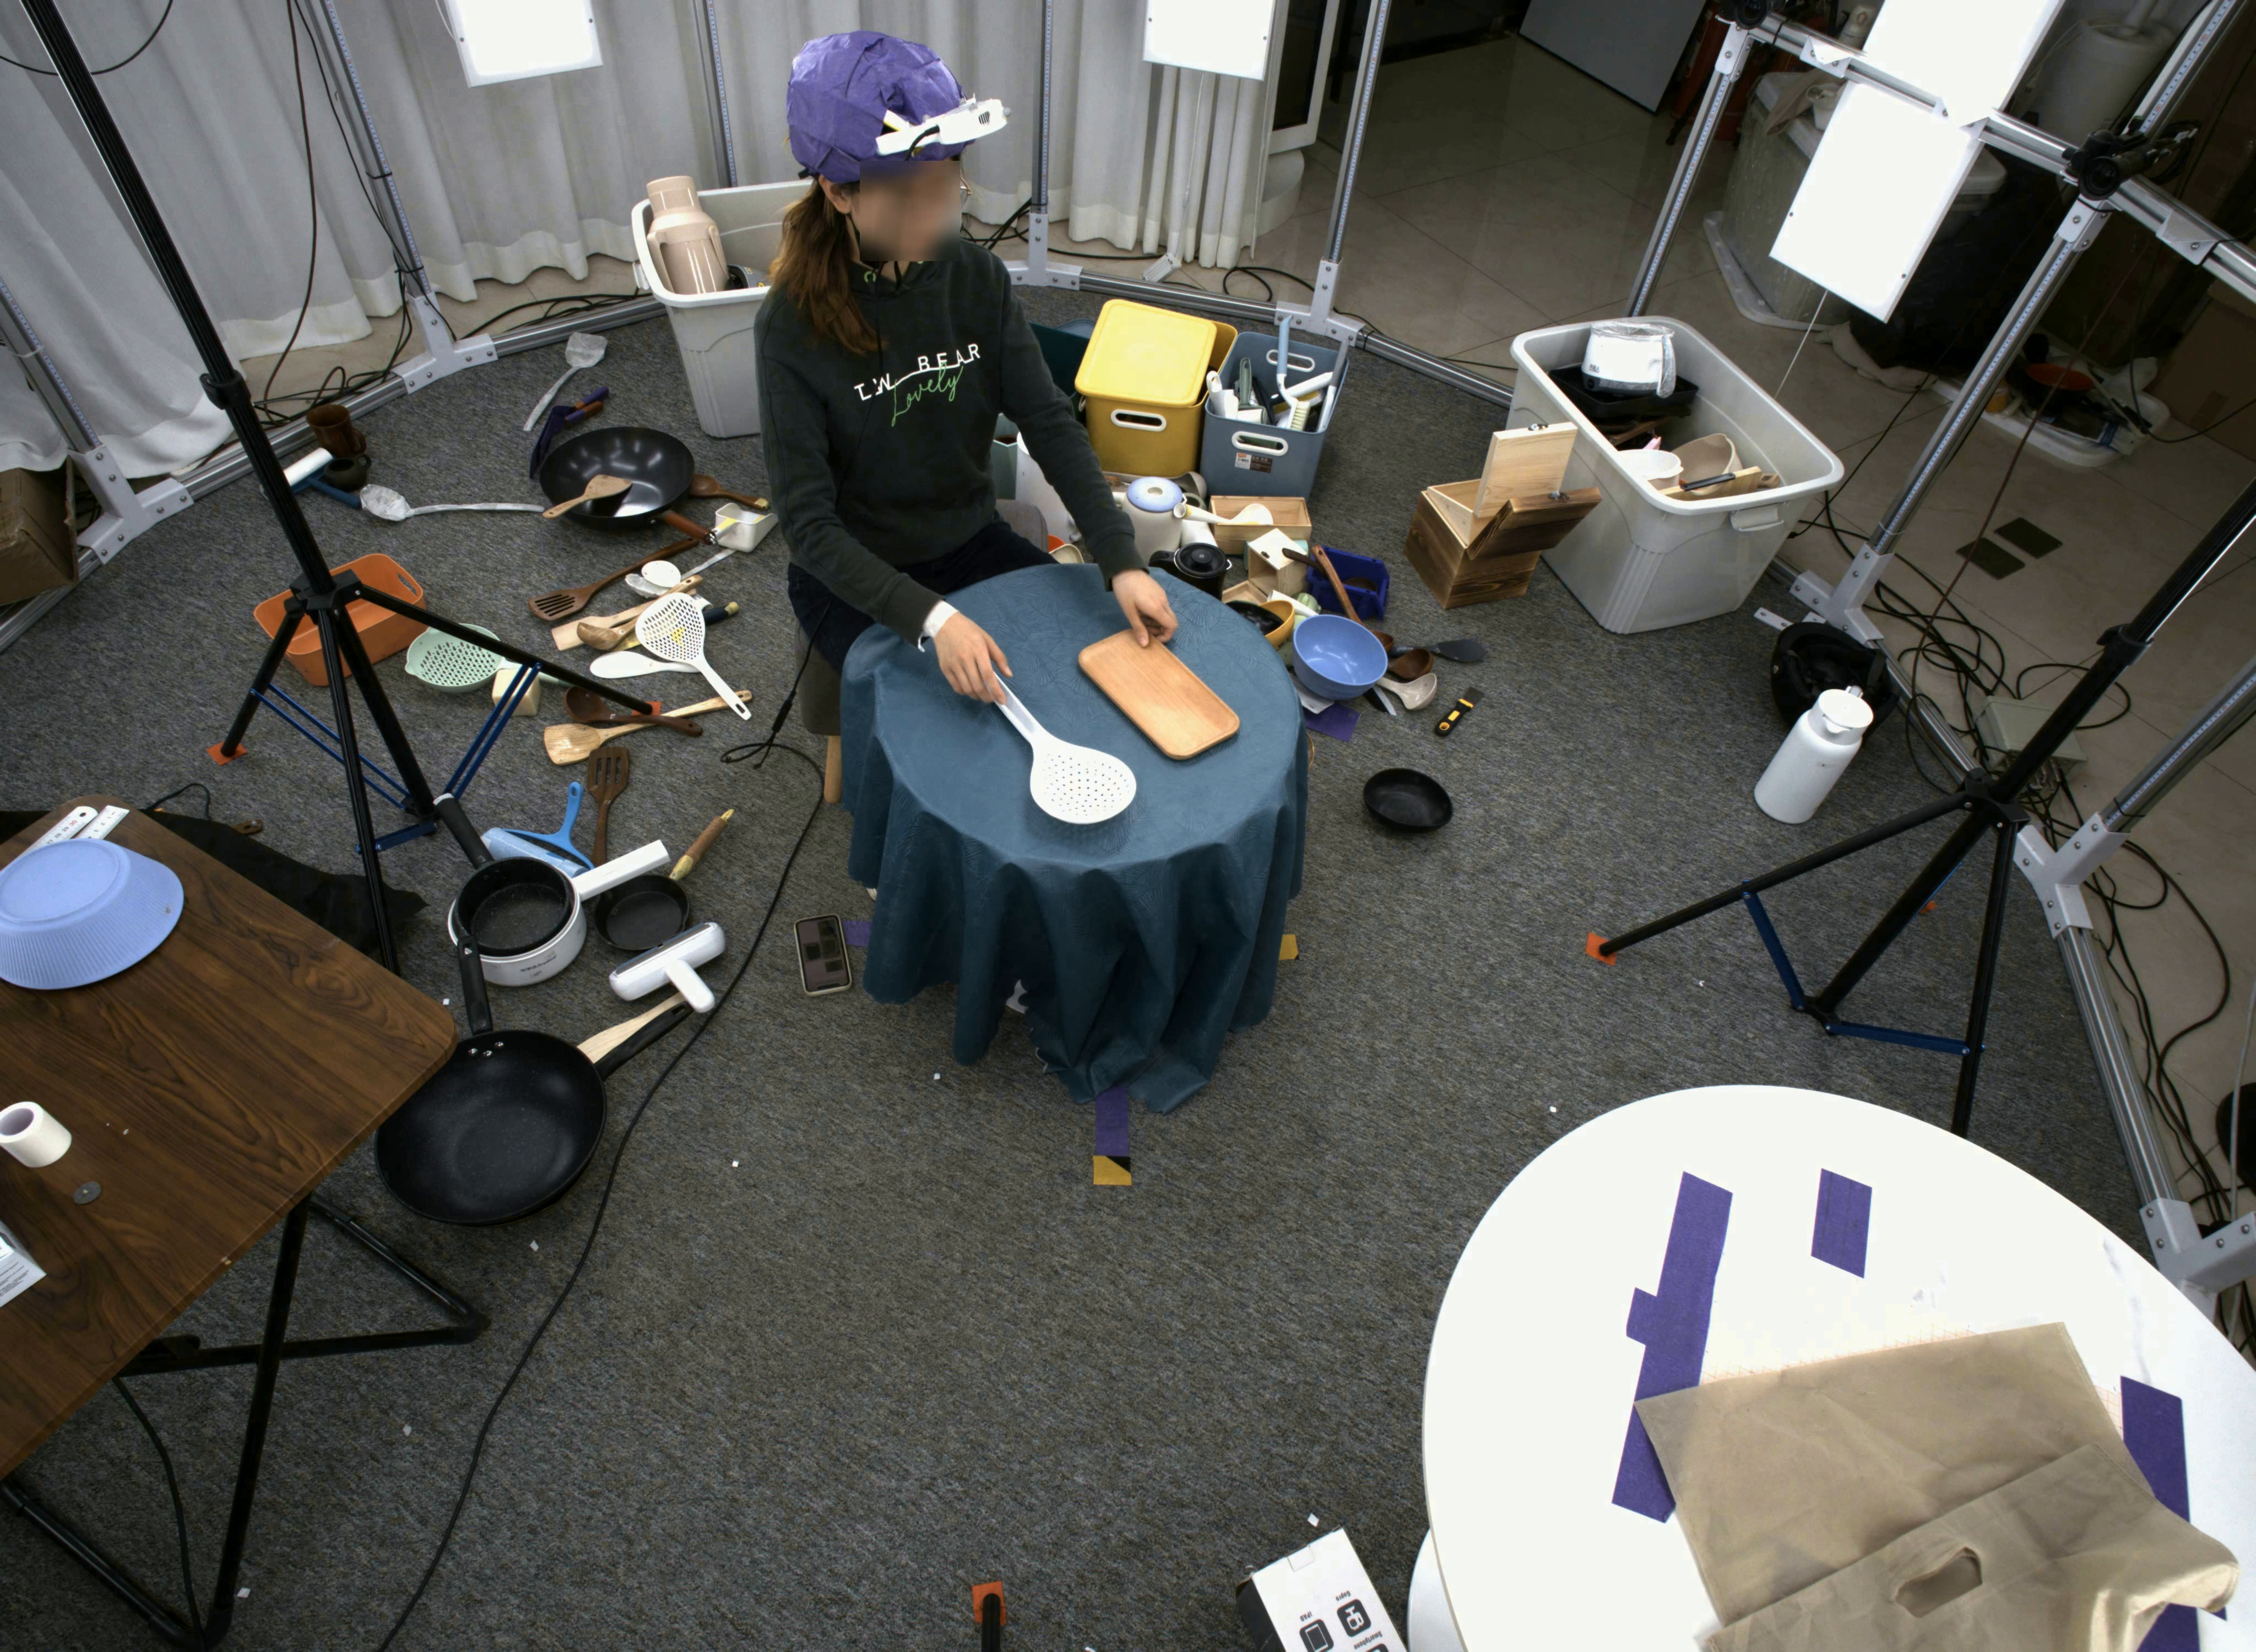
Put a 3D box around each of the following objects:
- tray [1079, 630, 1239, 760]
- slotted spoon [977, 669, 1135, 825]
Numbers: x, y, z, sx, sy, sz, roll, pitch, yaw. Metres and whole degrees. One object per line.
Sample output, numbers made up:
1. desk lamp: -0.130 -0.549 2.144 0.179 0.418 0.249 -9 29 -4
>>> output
1. tray: 0.042 -0.191 1.842 0.131 0.022 0.255 -26 54 -26
2. slotted spoon: -0.115 -0.113 1.745 0.136 0.044 0.357 -21 53 -24
